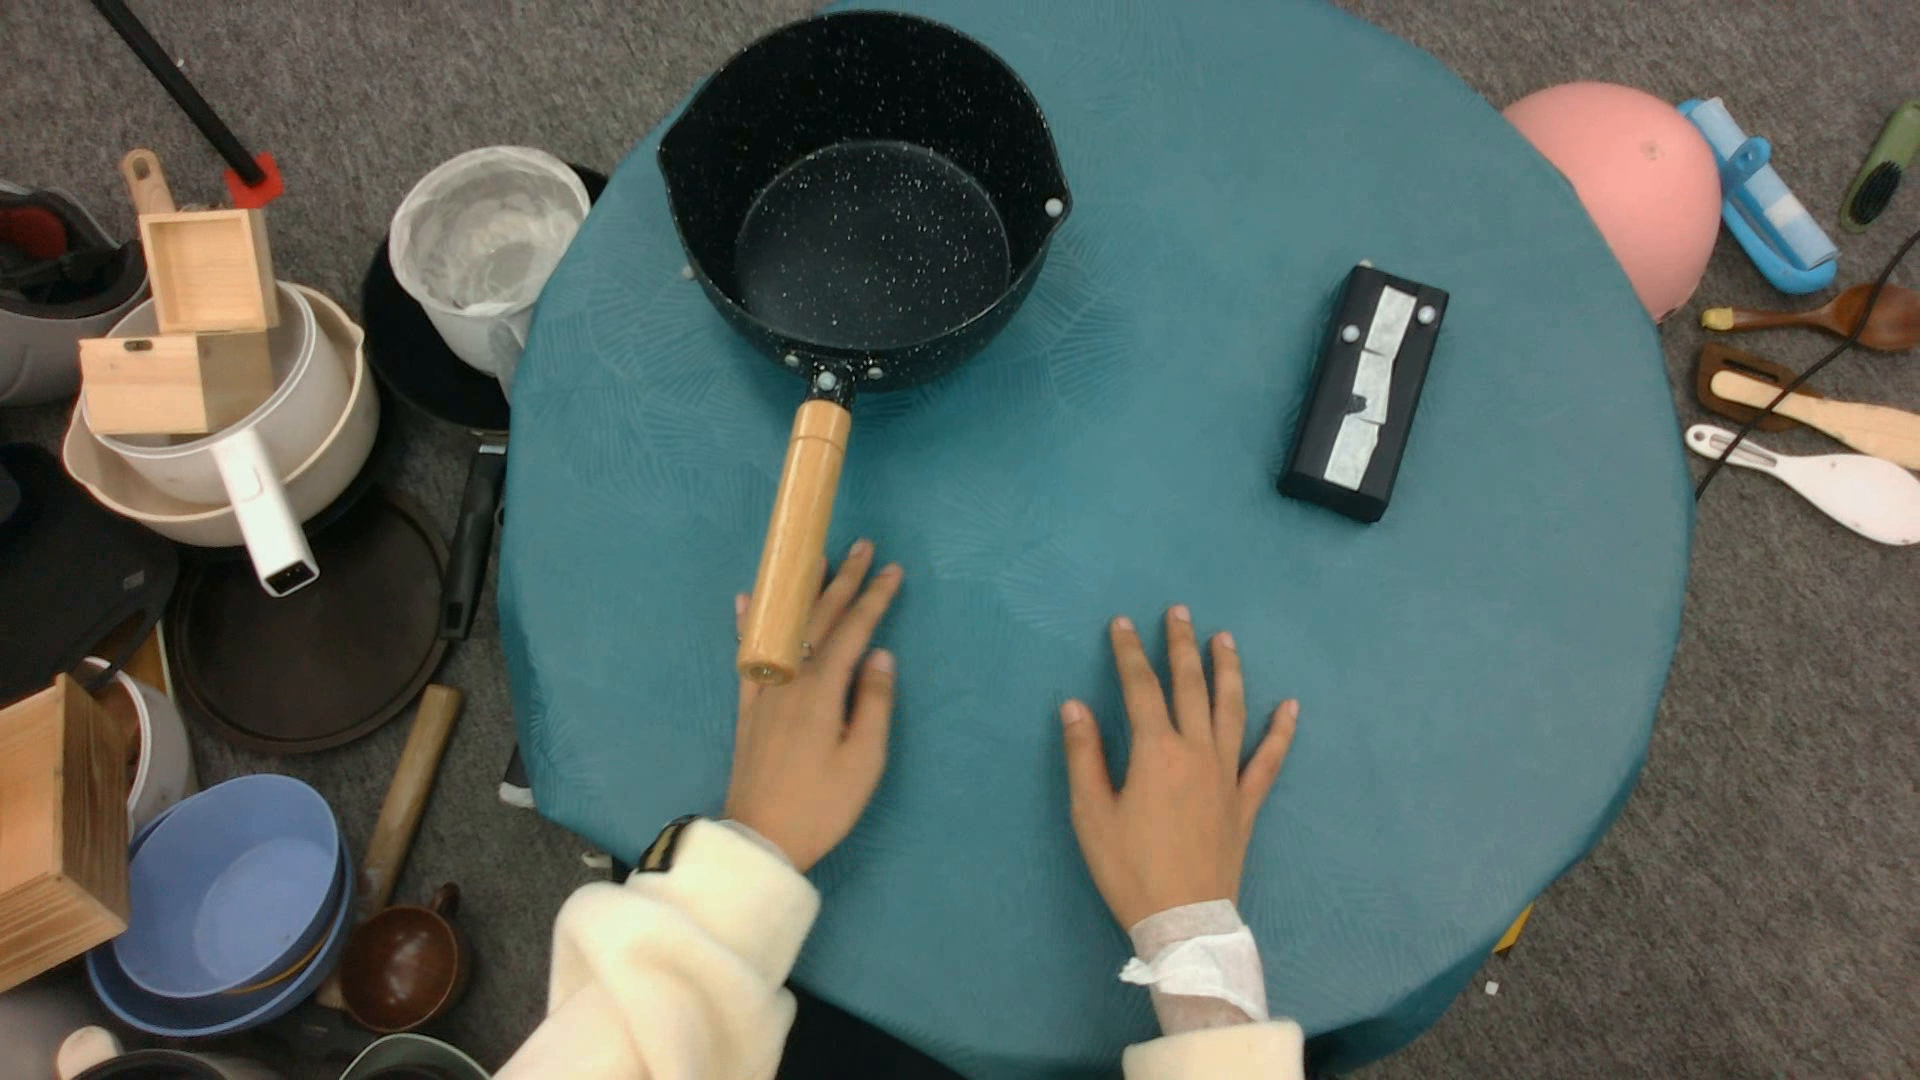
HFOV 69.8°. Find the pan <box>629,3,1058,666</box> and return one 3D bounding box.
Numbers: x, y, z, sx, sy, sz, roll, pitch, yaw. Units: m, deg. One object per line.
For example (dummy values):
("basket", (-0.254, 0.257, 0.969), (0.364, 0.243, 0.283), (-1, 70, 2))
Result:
("pan", (-0.065, -0.095, 0.656), (0.207, 0.108, 0.344), (7, 70, 0))

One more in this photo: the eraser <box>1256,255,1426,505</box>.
("eraser", (0.194, -0.083, 0.702), (0.053, 0.030, 0.126), (20, 73, 6))
